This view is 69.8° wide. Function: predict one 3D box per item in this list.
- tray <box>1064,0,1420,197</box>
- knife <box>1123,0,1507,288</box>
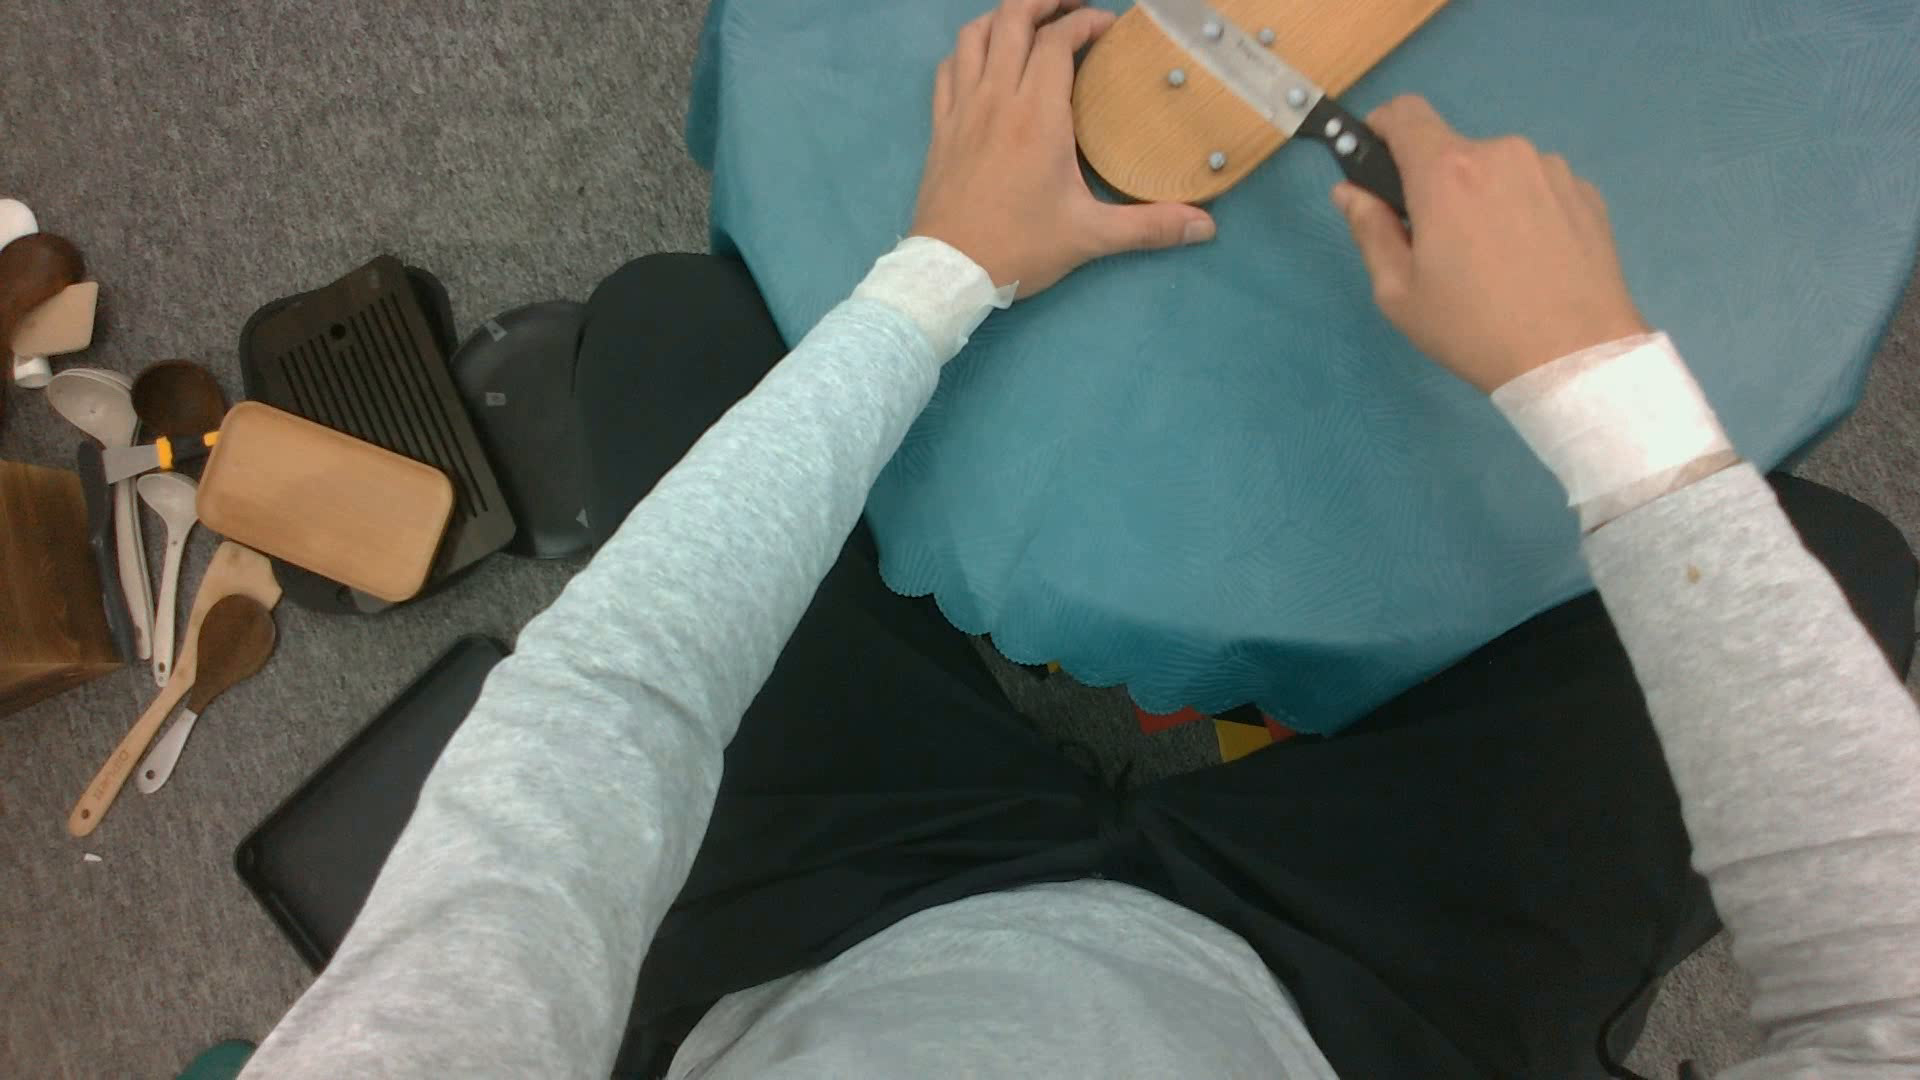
[{"bbox_3d":[0.150,-0.263,0.682,0.231,0.020,0.102,-43,83,0],"label":"tray"},{"bbox_3d":[0.137,-0.187,0.582,0.238,0.016,0.024,46,116,18],"label":"knife"}]
